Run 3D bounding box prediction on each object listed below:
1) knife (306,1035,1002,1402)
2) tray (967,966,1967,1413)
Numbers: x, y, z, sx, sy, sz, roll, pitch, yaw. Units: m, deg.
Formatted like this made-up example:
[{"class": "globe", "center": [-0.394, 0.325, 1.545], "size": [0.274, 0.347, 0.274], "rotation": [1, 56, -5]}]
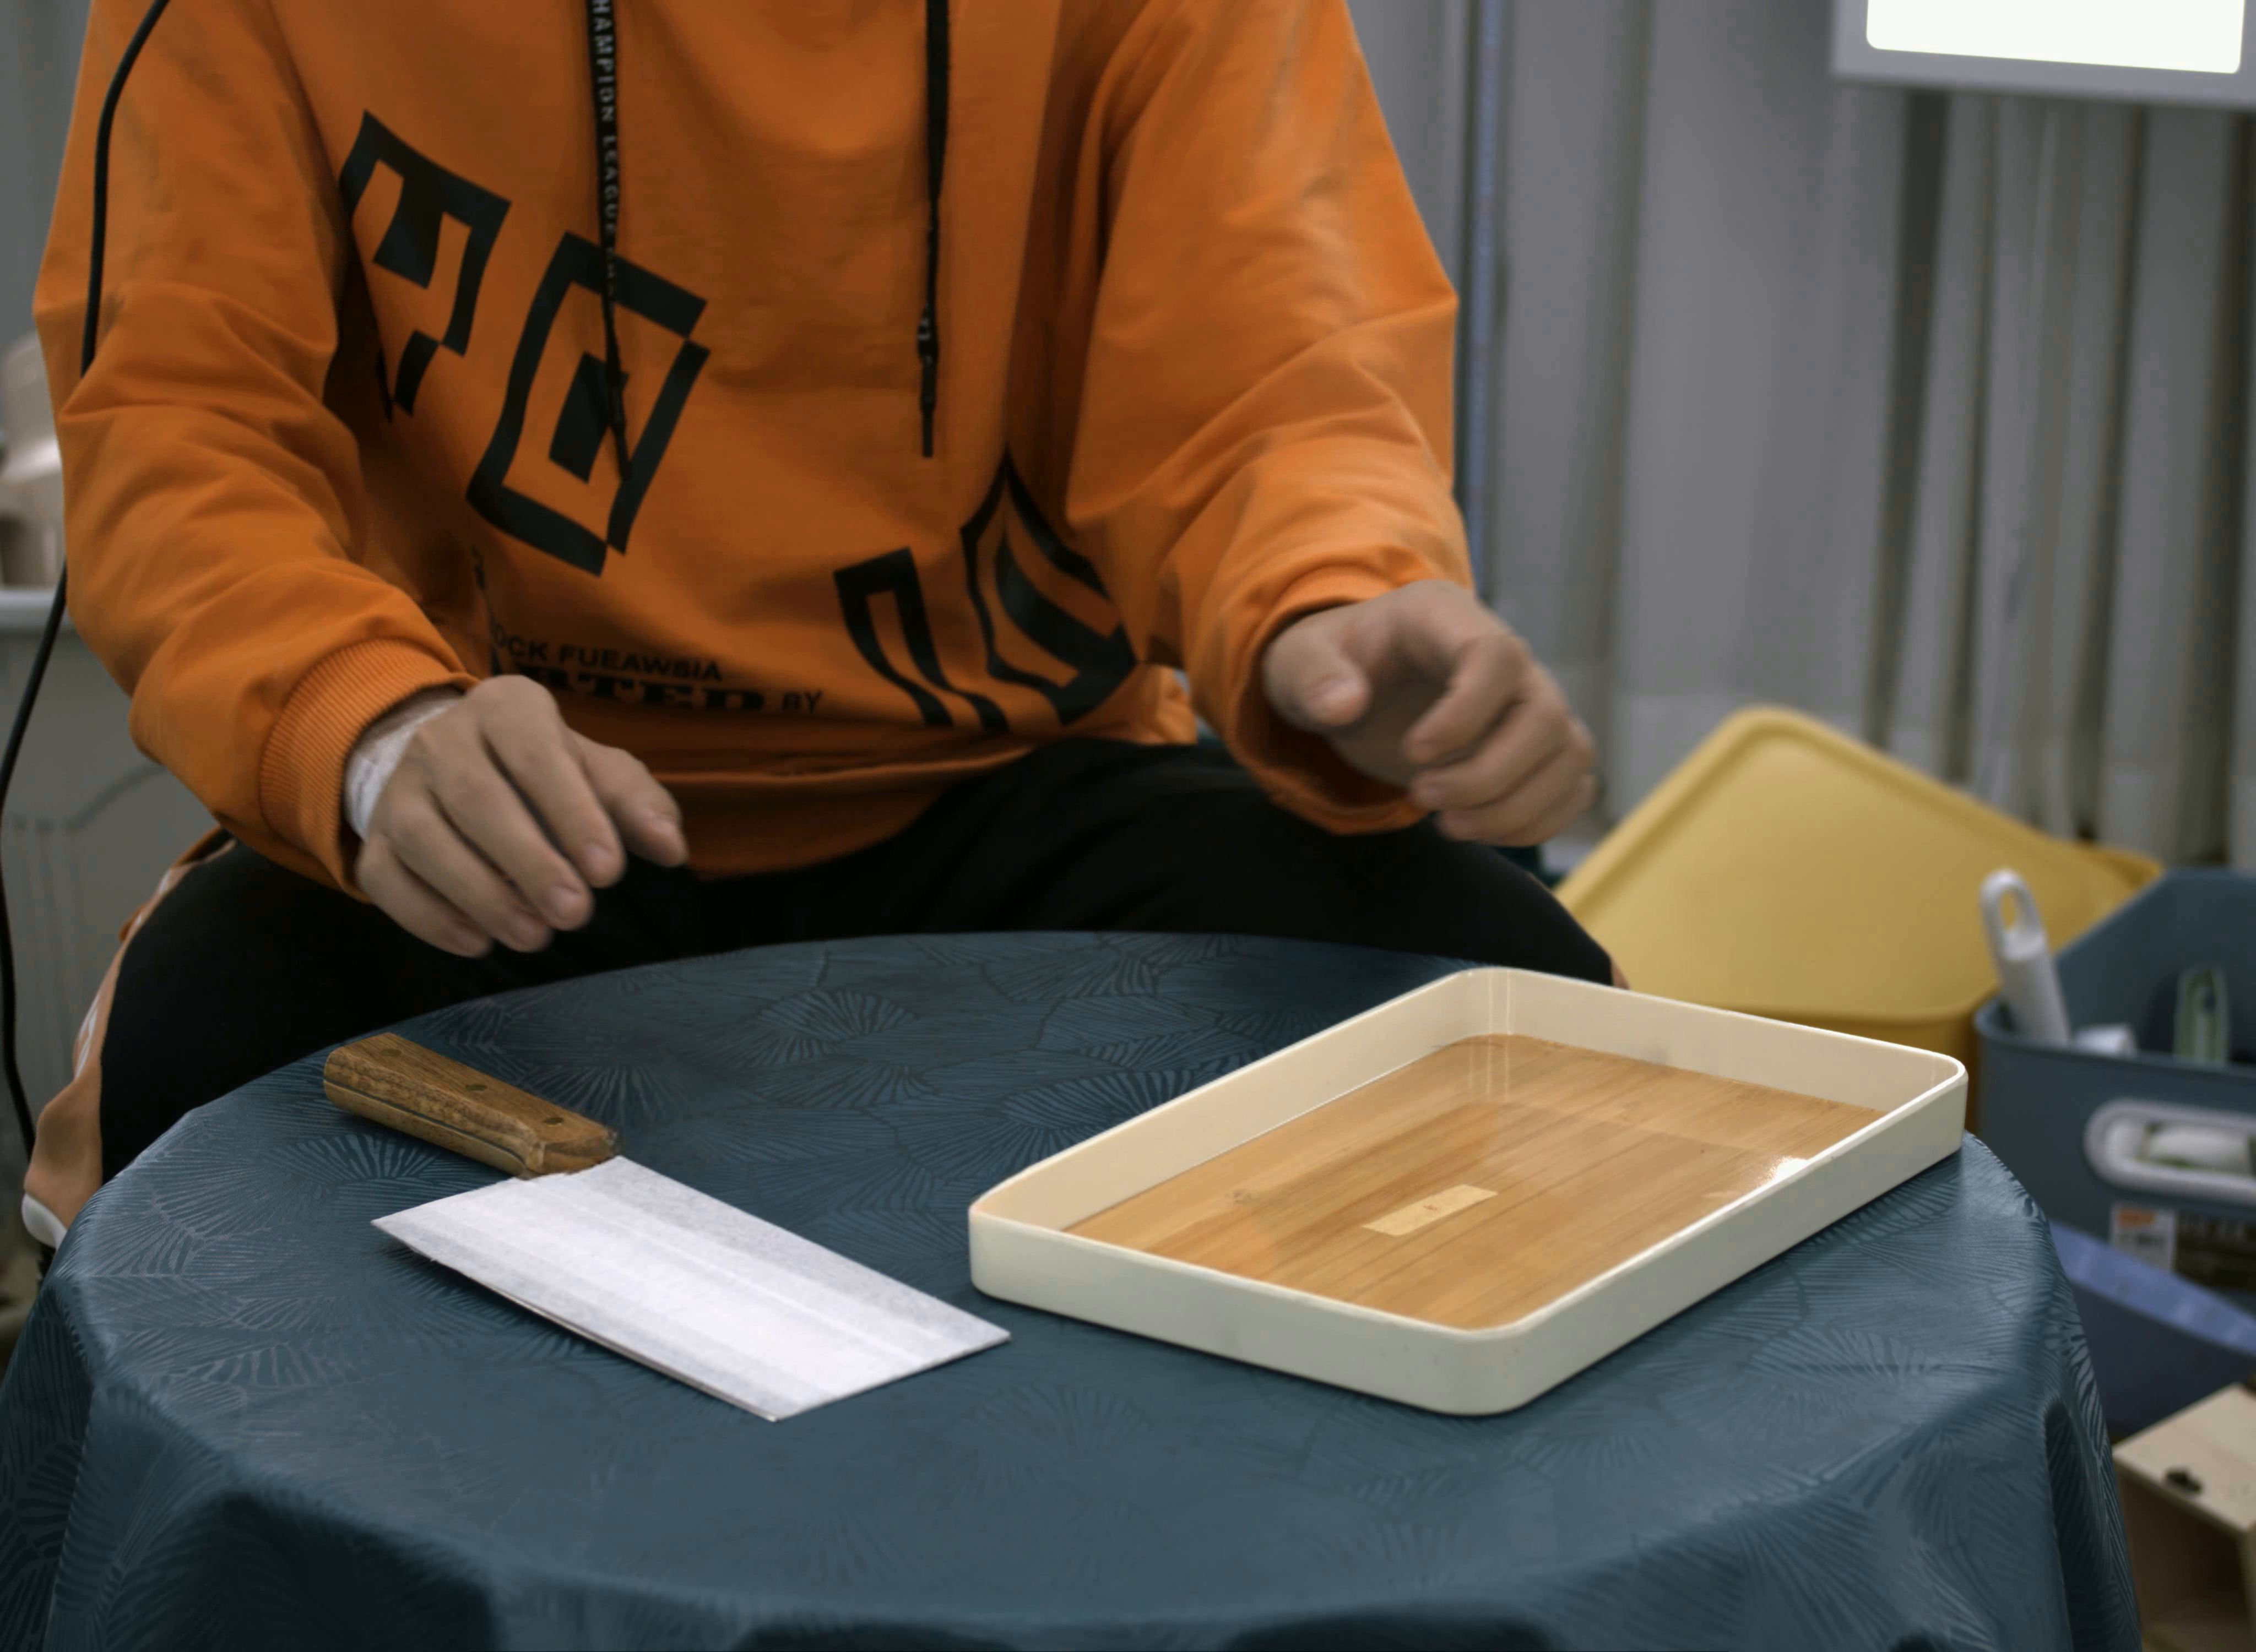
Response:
[{"class": "knife", "center": [-0.167, 0.117, 1.571], "size": [0.093, 0.021, 0.301], "rotation": [-16, 25, -41]}, {"class": "tray", "center": [0.109, 0.105, 1.601], "size": [0.189, 0.027, 0.301], "rotation": [11, 19, 34]}]
